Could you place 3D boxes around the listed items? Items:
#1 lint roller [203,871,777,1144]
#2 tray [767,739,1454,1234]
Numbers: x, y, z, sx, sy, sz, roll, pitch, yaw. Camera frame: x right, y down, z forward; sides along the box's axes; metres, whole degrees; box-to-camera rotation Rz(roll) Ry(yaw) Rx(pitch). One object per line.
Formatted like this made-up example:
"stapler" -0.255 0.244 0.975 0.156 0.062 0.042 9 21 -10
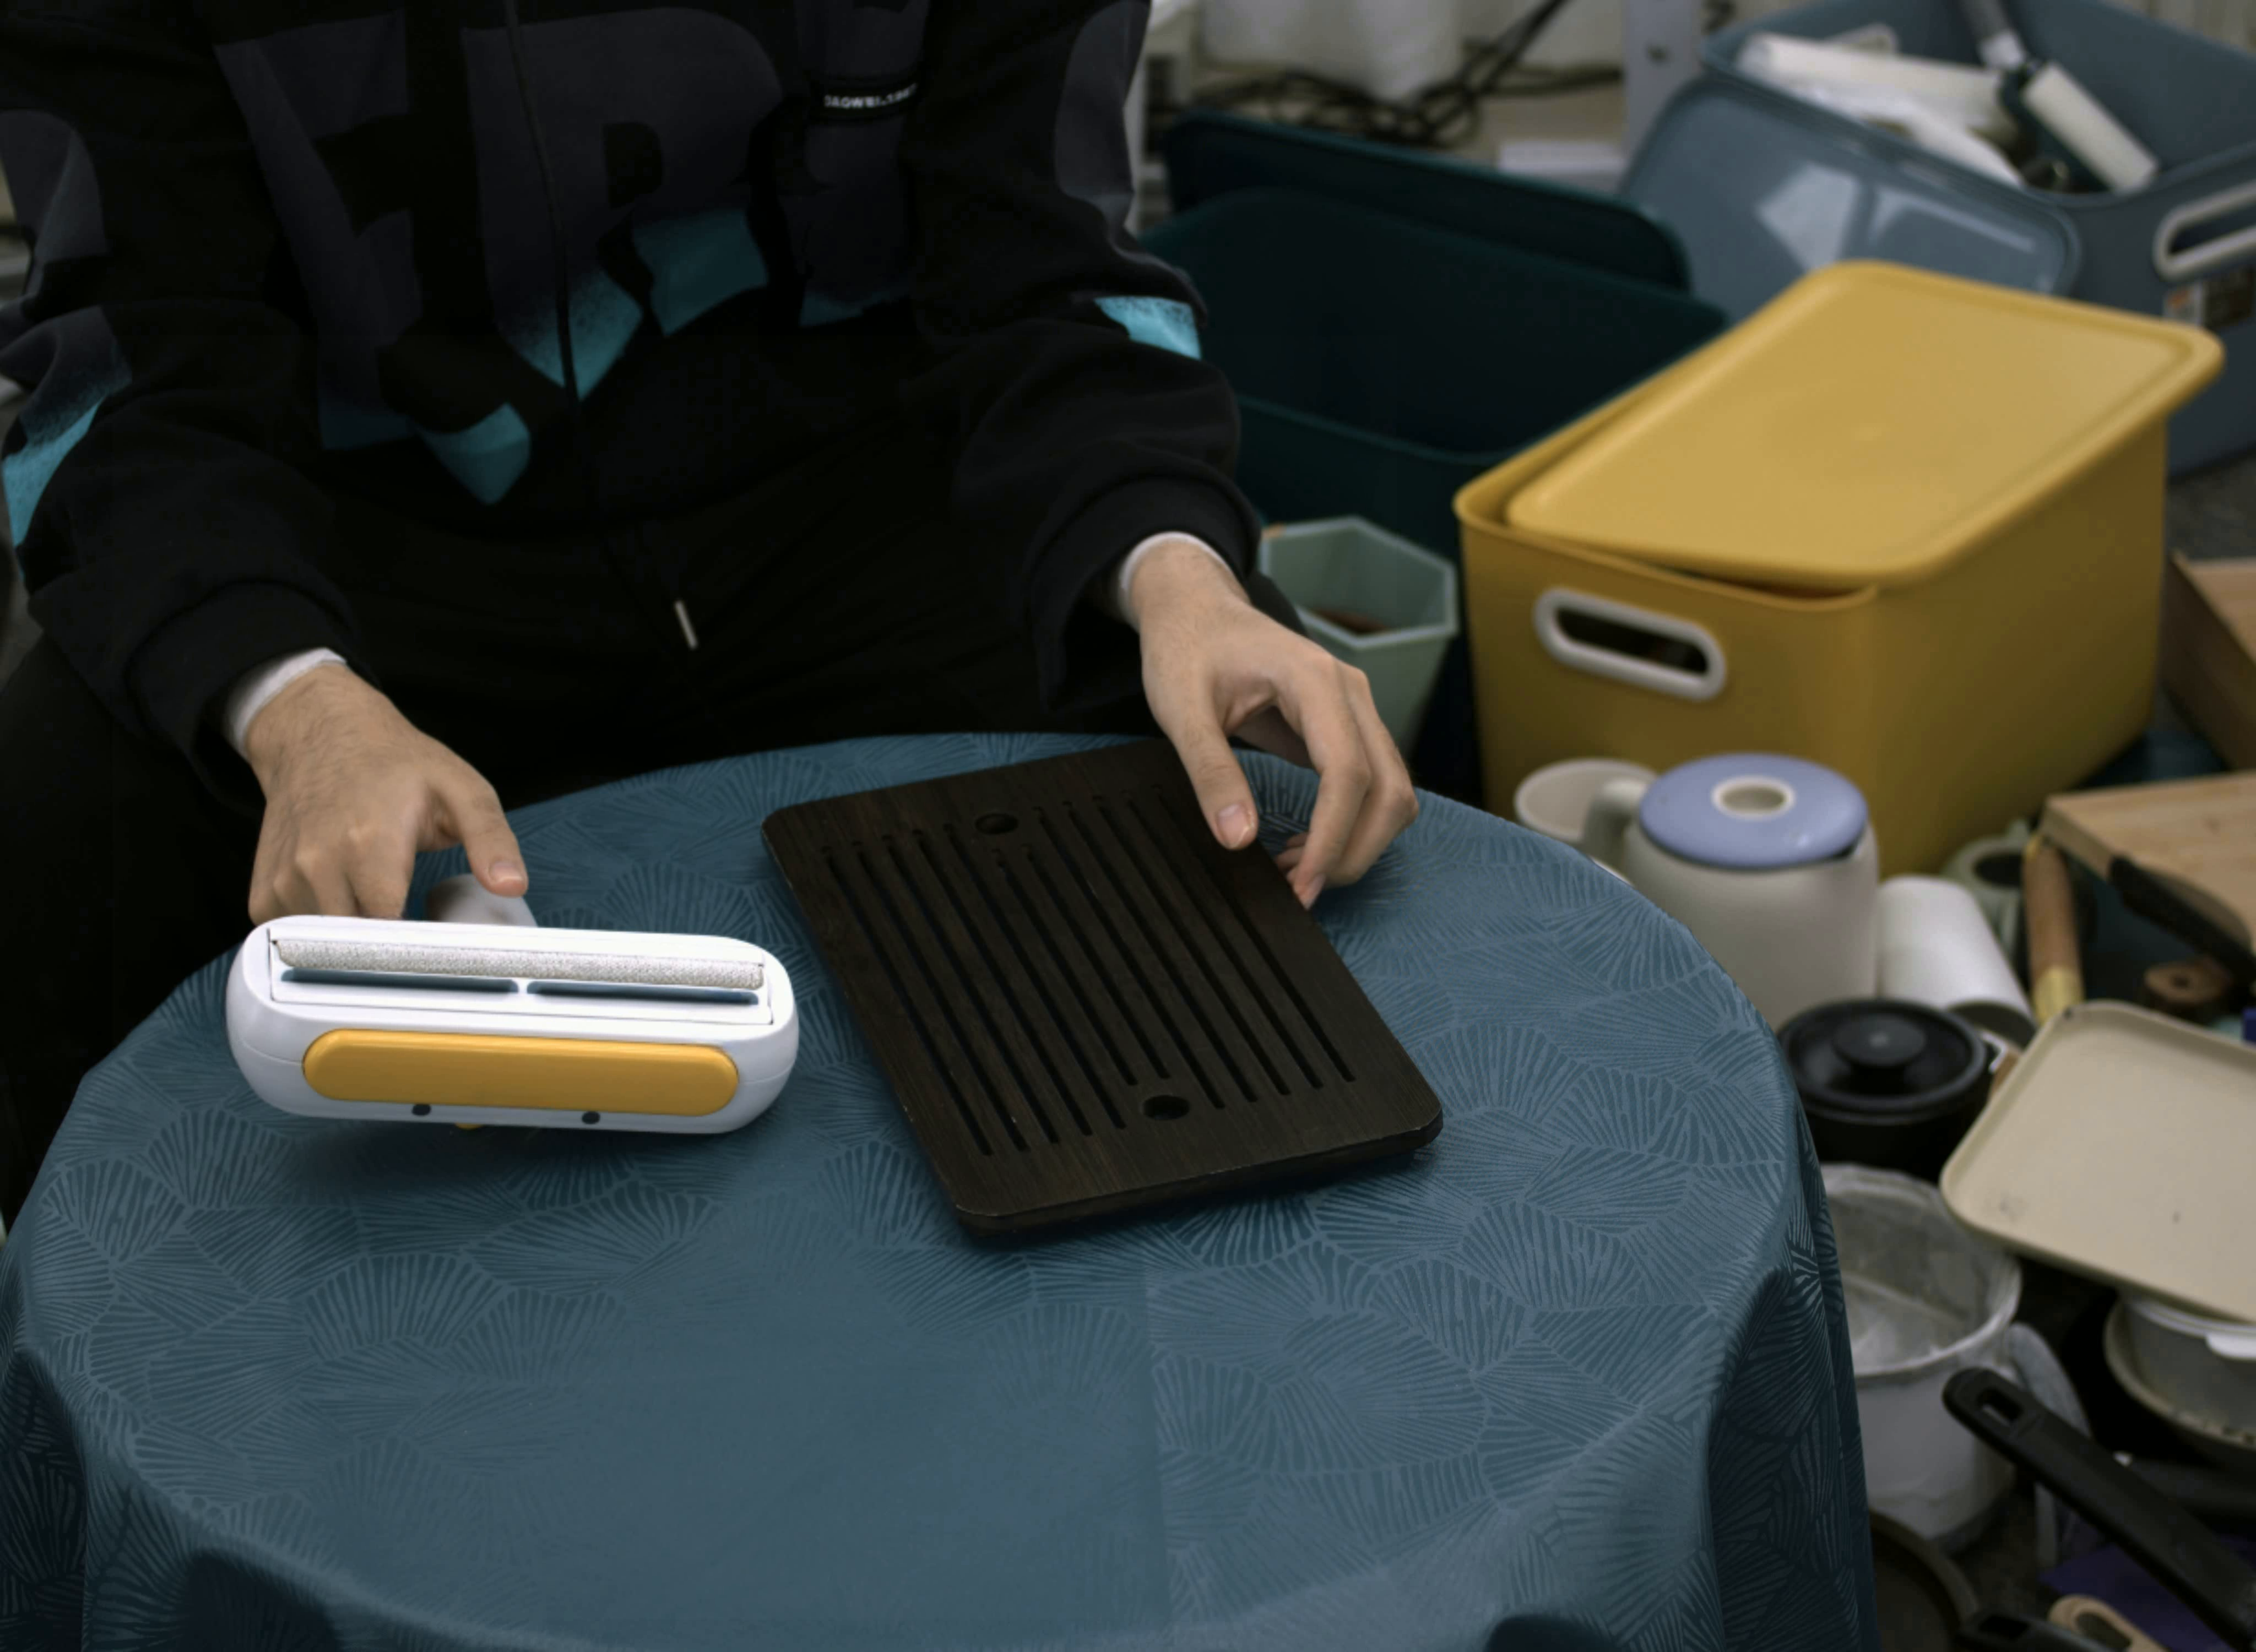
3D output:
"lint roller" -0.222 0.049 1.949 0.192 0.073 0.195 1 25 -8
"tray" -0.012 0.053 1.973 0.170 0.018 0.309 -10 28 -13
